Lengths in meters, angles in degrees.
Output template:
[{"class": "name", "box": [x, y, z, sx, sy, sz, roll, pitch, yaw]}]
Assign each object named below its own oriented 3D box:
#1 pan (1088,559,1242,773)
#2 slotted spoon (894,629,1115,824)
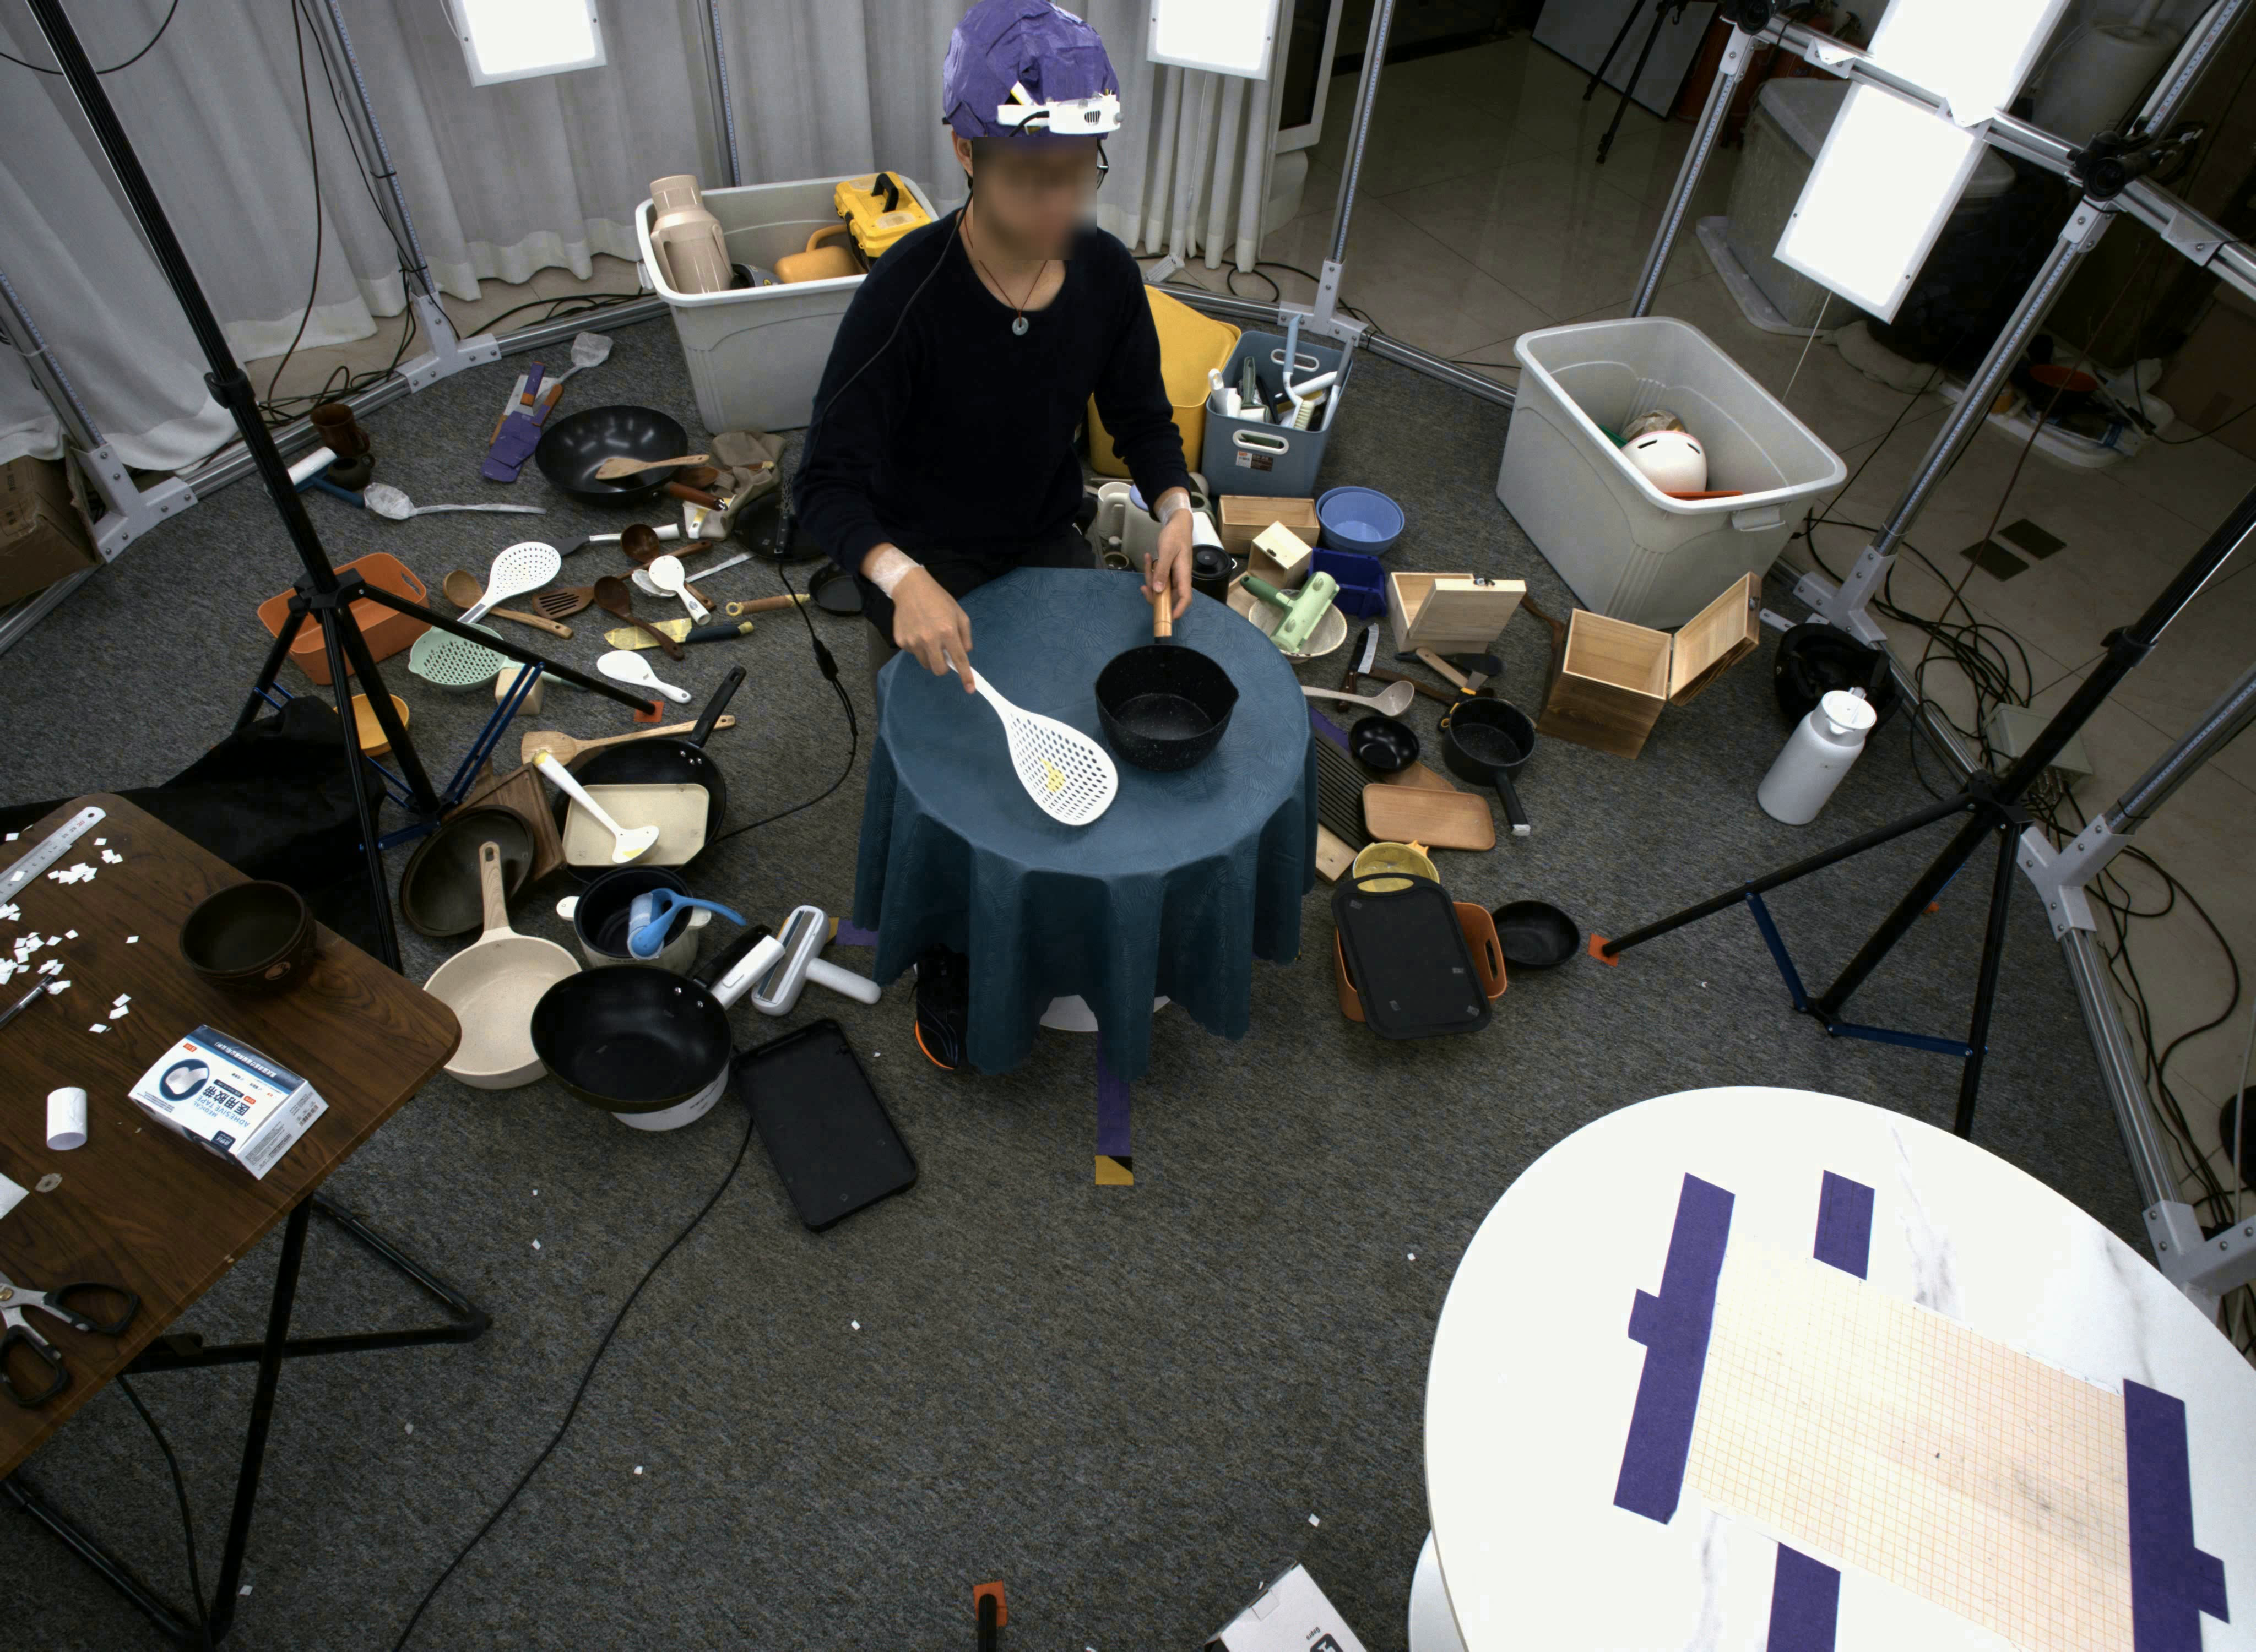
[{"class": "pan", "box": [0.047, -0.225, 1.798, 0.207, 0.105, 0.351, 0, 50, -2]}, {"class": "slotted spoon", "box": [-0.163, -0.140, 1.668, 0.346, 0.050, 0.139, 46, 54, -8]}]
